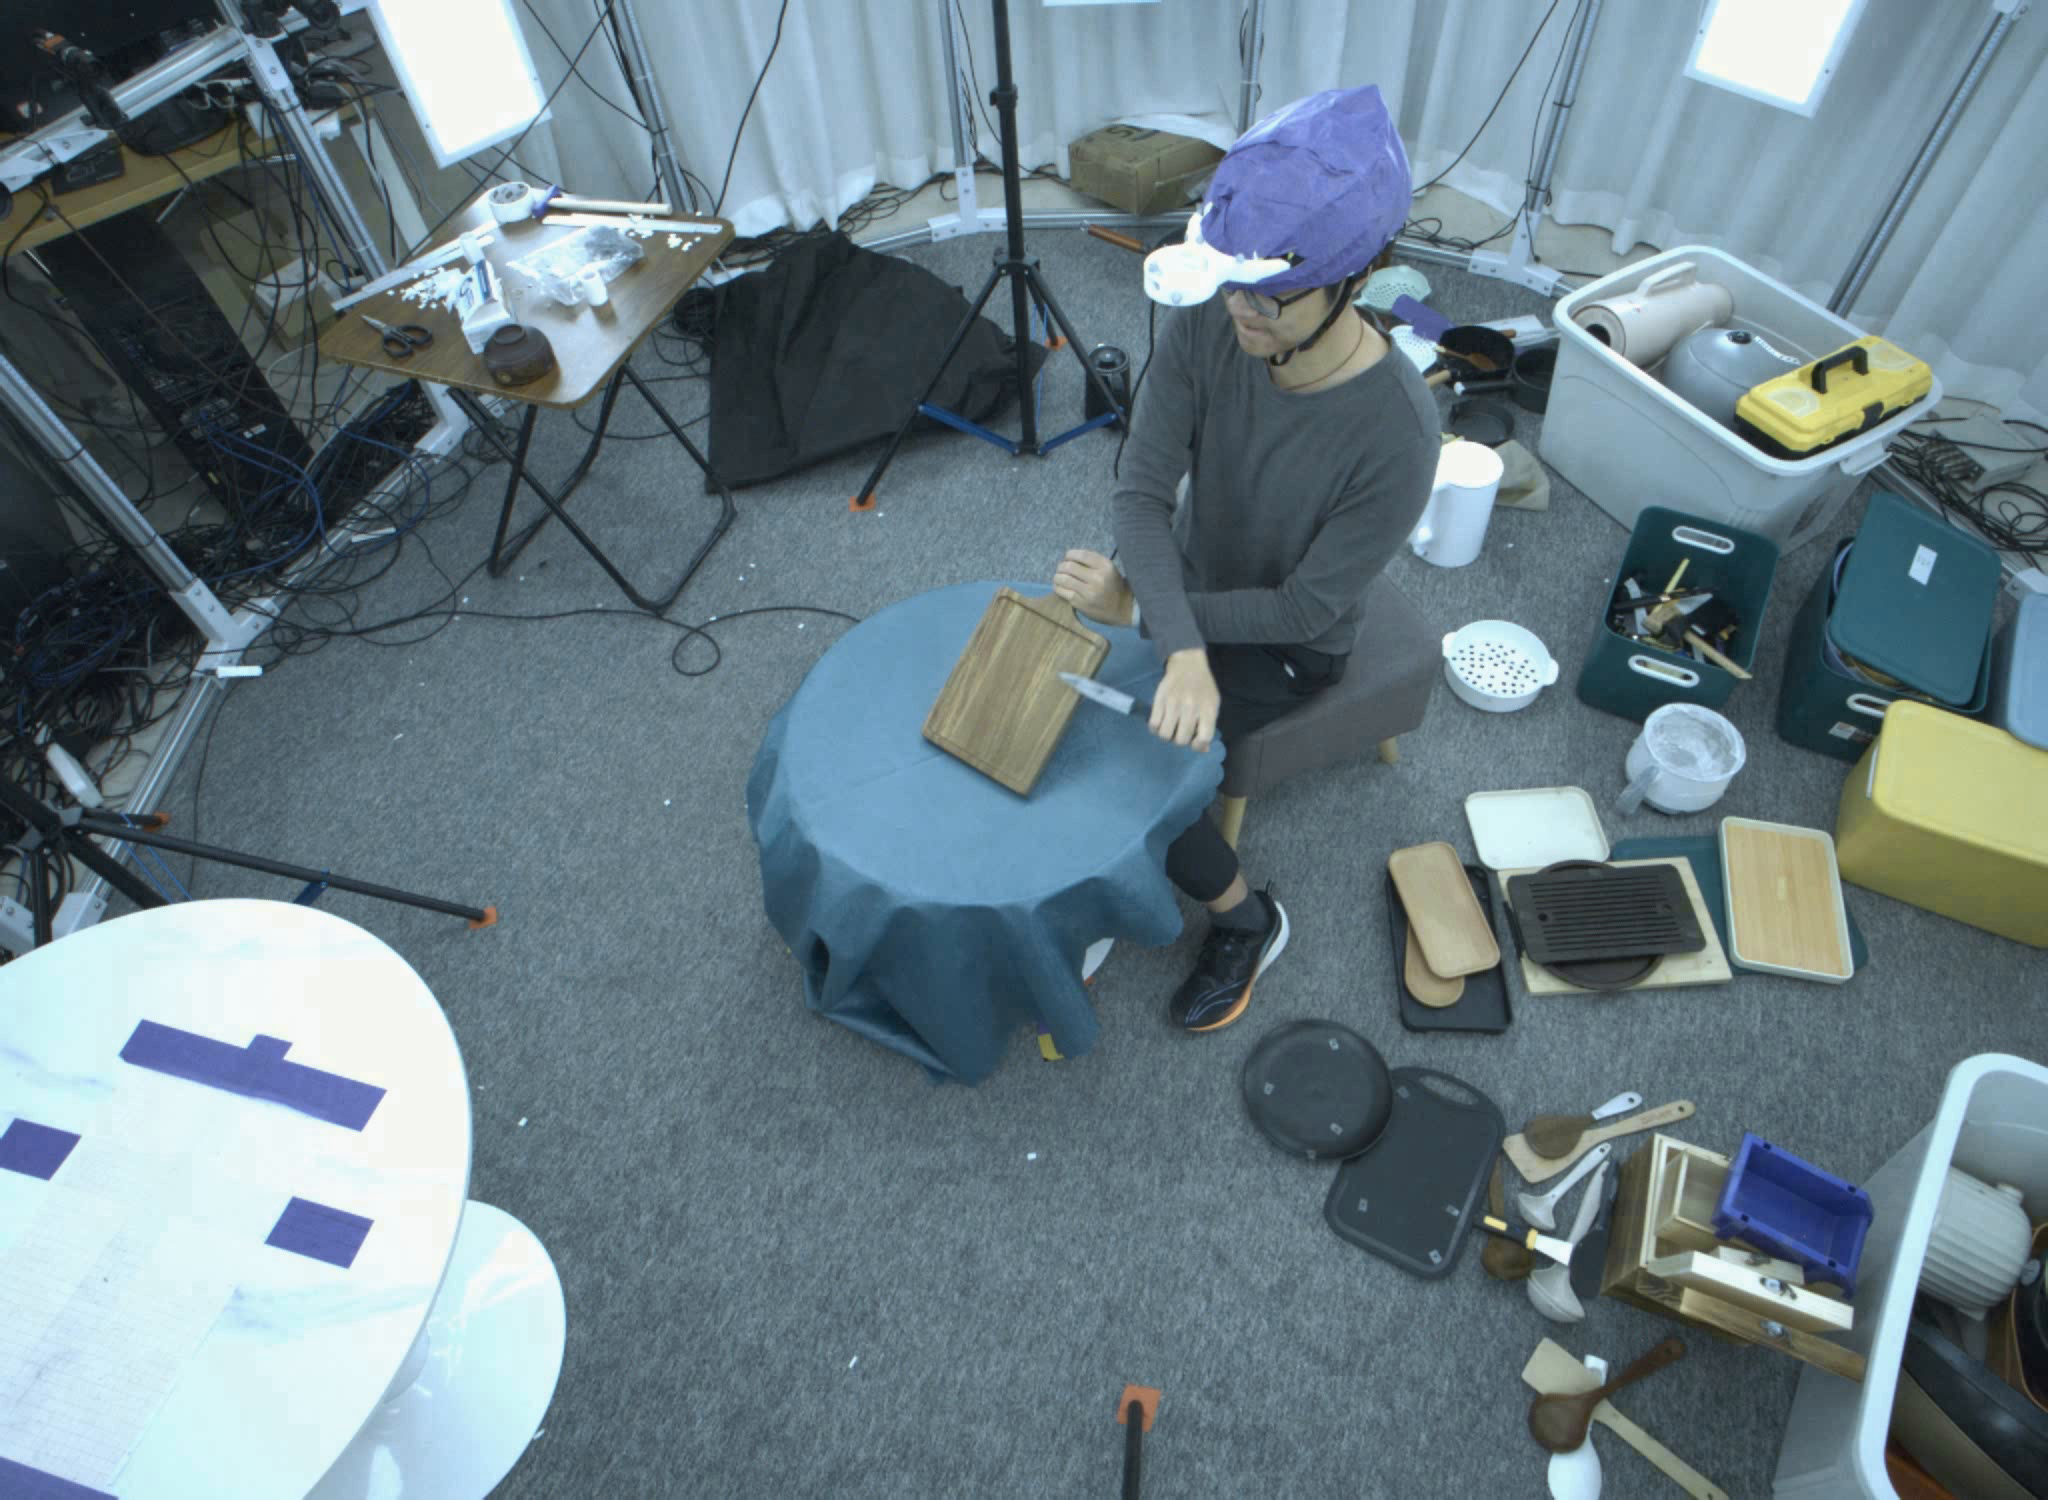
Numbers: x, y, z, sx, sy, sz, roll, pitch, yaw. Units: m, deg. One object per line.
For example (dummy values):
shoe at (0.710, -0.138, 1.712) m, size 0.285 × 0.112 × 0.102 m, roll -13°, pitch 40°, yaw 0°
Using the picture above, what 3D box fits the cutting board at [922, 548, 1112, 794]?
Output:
cutting board at (0.010, -0.132, 1.767) m, size 0.198 × 0.023 × 0.352 m, roll 30°, pitch 92°, yaw 21°

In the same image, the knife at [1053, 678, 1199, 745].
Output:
knife at (0.137, -0.059, 1.683) m, size 0.233 × 0.016 × 0.024 m, roll 25°, pitch 89°, yaw 27°
